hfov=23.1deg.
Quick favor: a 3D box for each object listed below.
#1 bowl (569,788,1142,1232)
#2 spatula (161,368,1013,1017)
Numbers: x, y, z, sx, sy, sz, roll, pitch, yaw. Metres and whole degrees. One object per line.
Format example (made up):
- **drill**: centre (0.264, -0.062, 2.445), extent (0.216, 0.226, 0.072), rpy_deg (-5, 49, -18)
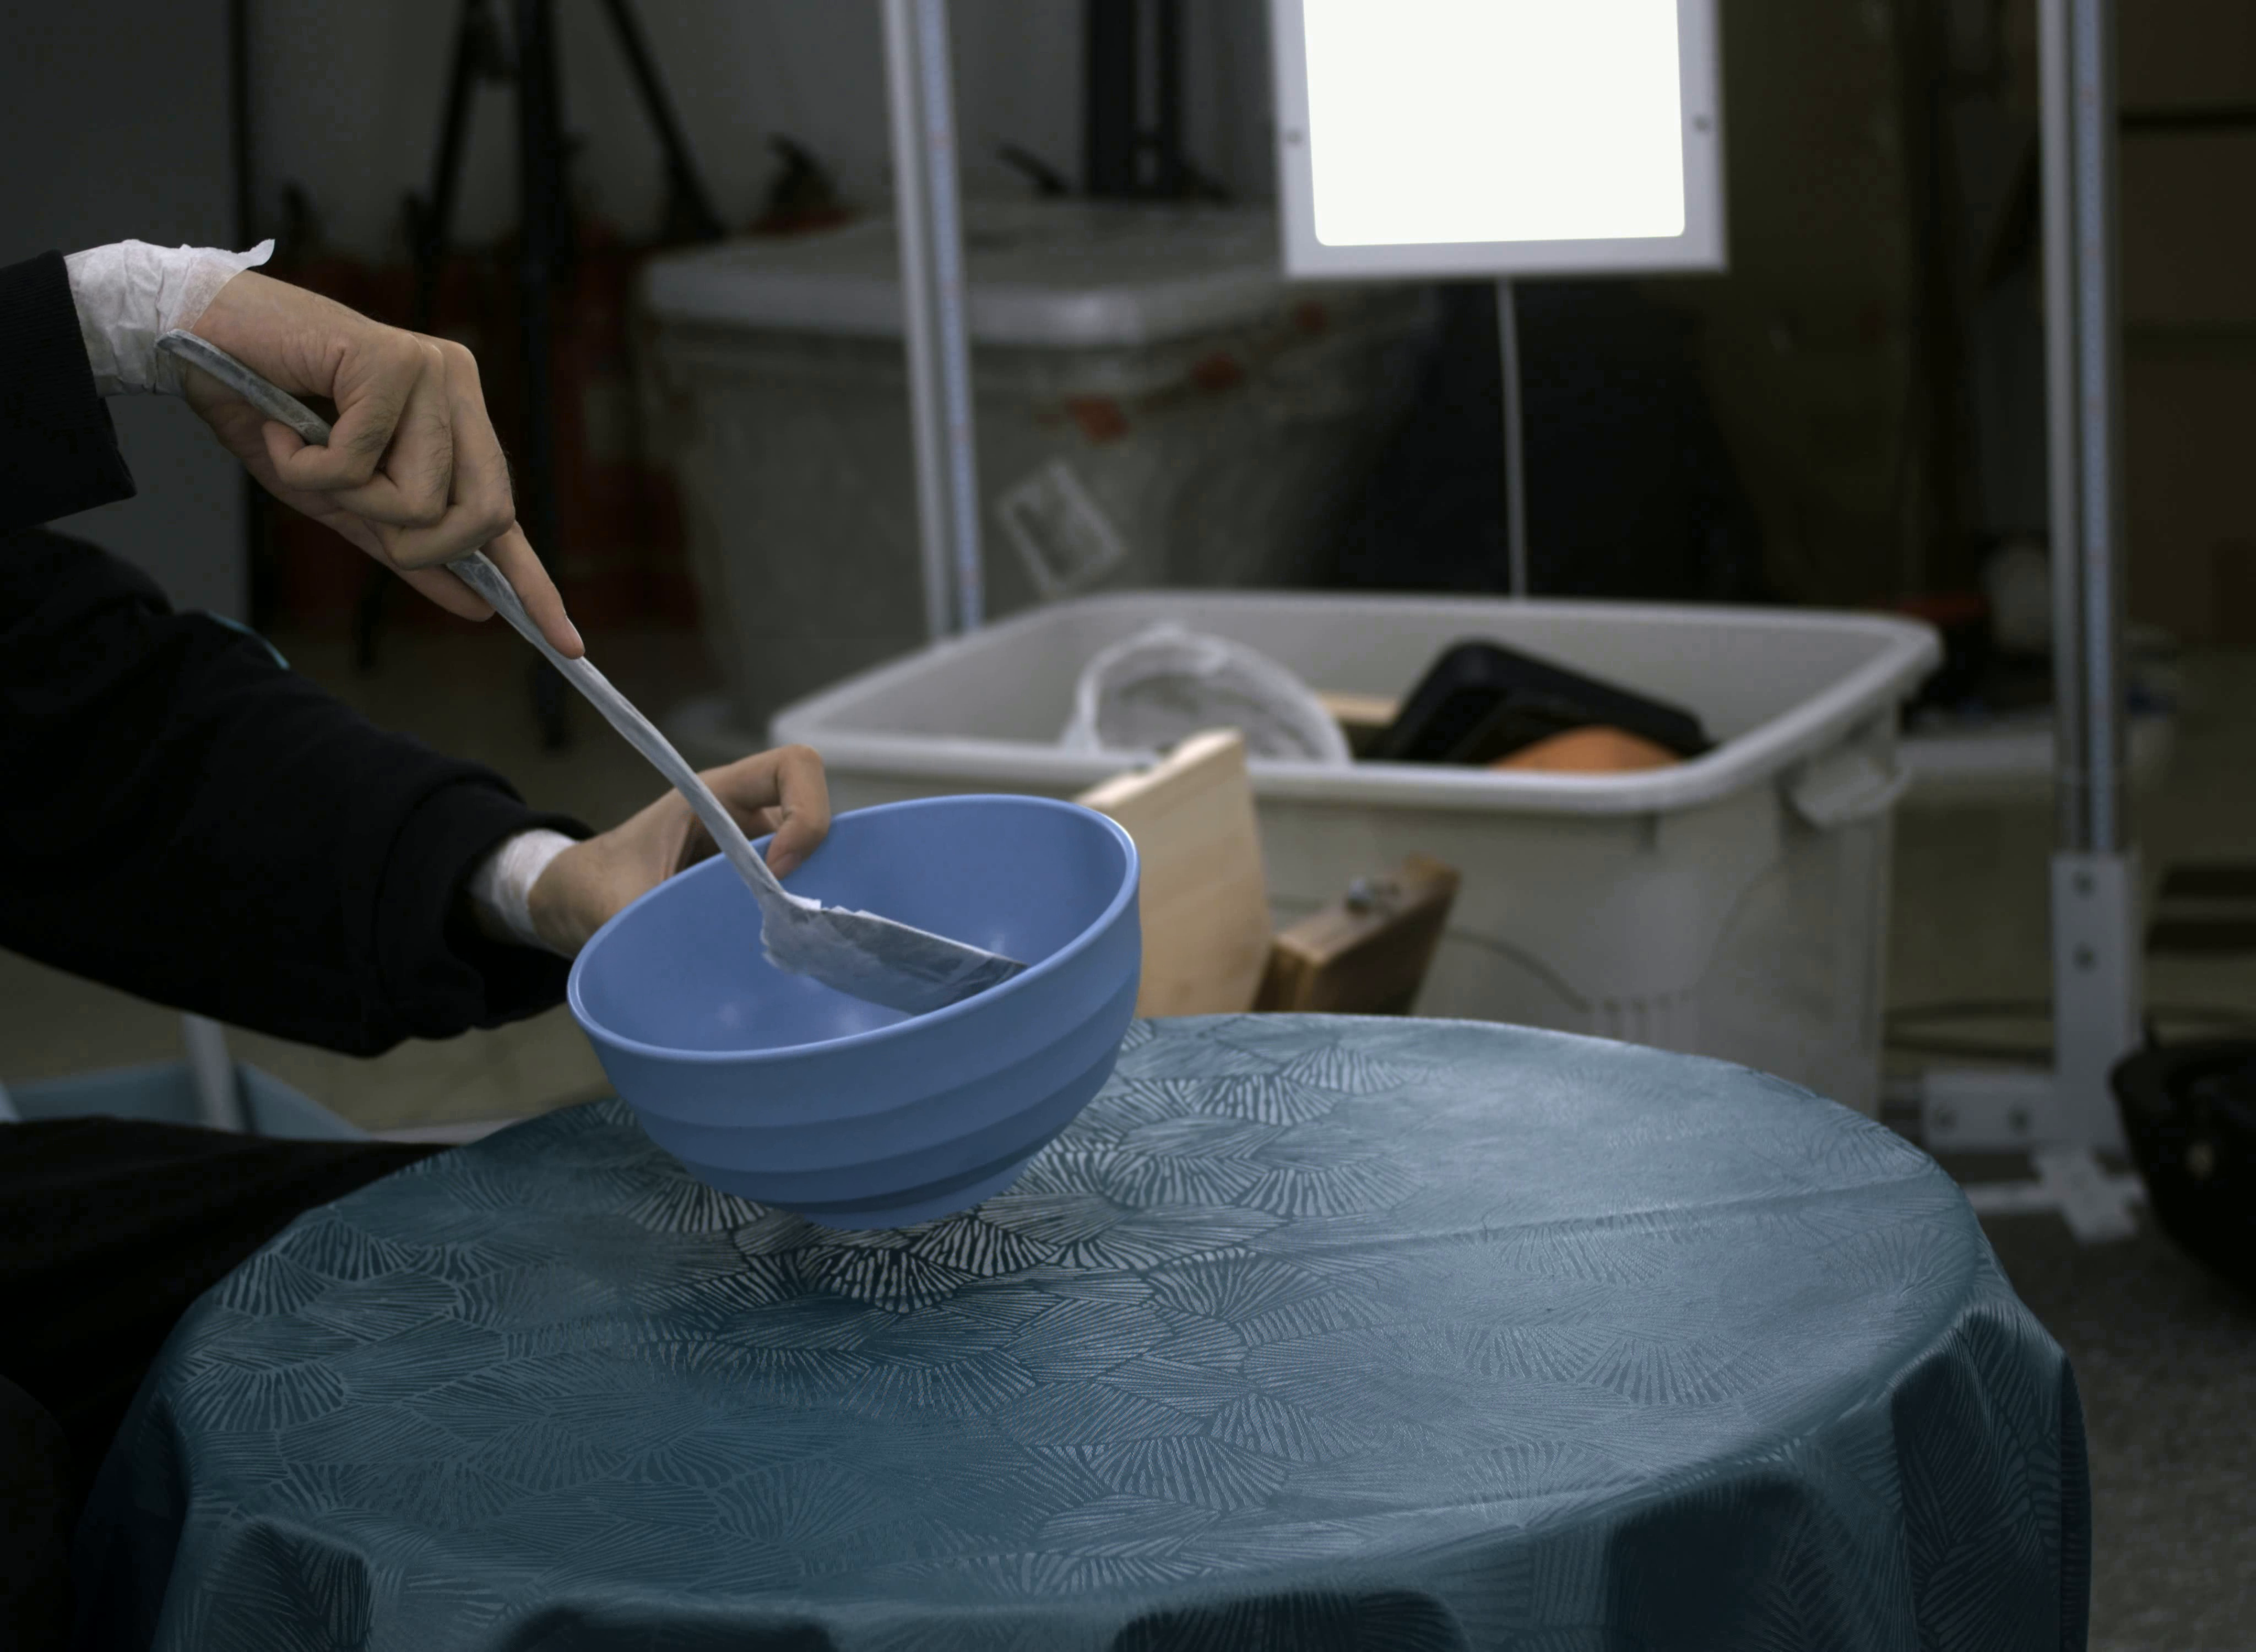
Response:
- **bowl**: centre (-0.081, 0.073, 1.846), extent (0.197, 0.095, 0.196), rpy_deg (-14, 23, 4)
- **spatula**: centre (-0.165, -0.040, 1.797), extent (0.044, 0.362, 0.100), rpy_deg (-52, 15, -24)
